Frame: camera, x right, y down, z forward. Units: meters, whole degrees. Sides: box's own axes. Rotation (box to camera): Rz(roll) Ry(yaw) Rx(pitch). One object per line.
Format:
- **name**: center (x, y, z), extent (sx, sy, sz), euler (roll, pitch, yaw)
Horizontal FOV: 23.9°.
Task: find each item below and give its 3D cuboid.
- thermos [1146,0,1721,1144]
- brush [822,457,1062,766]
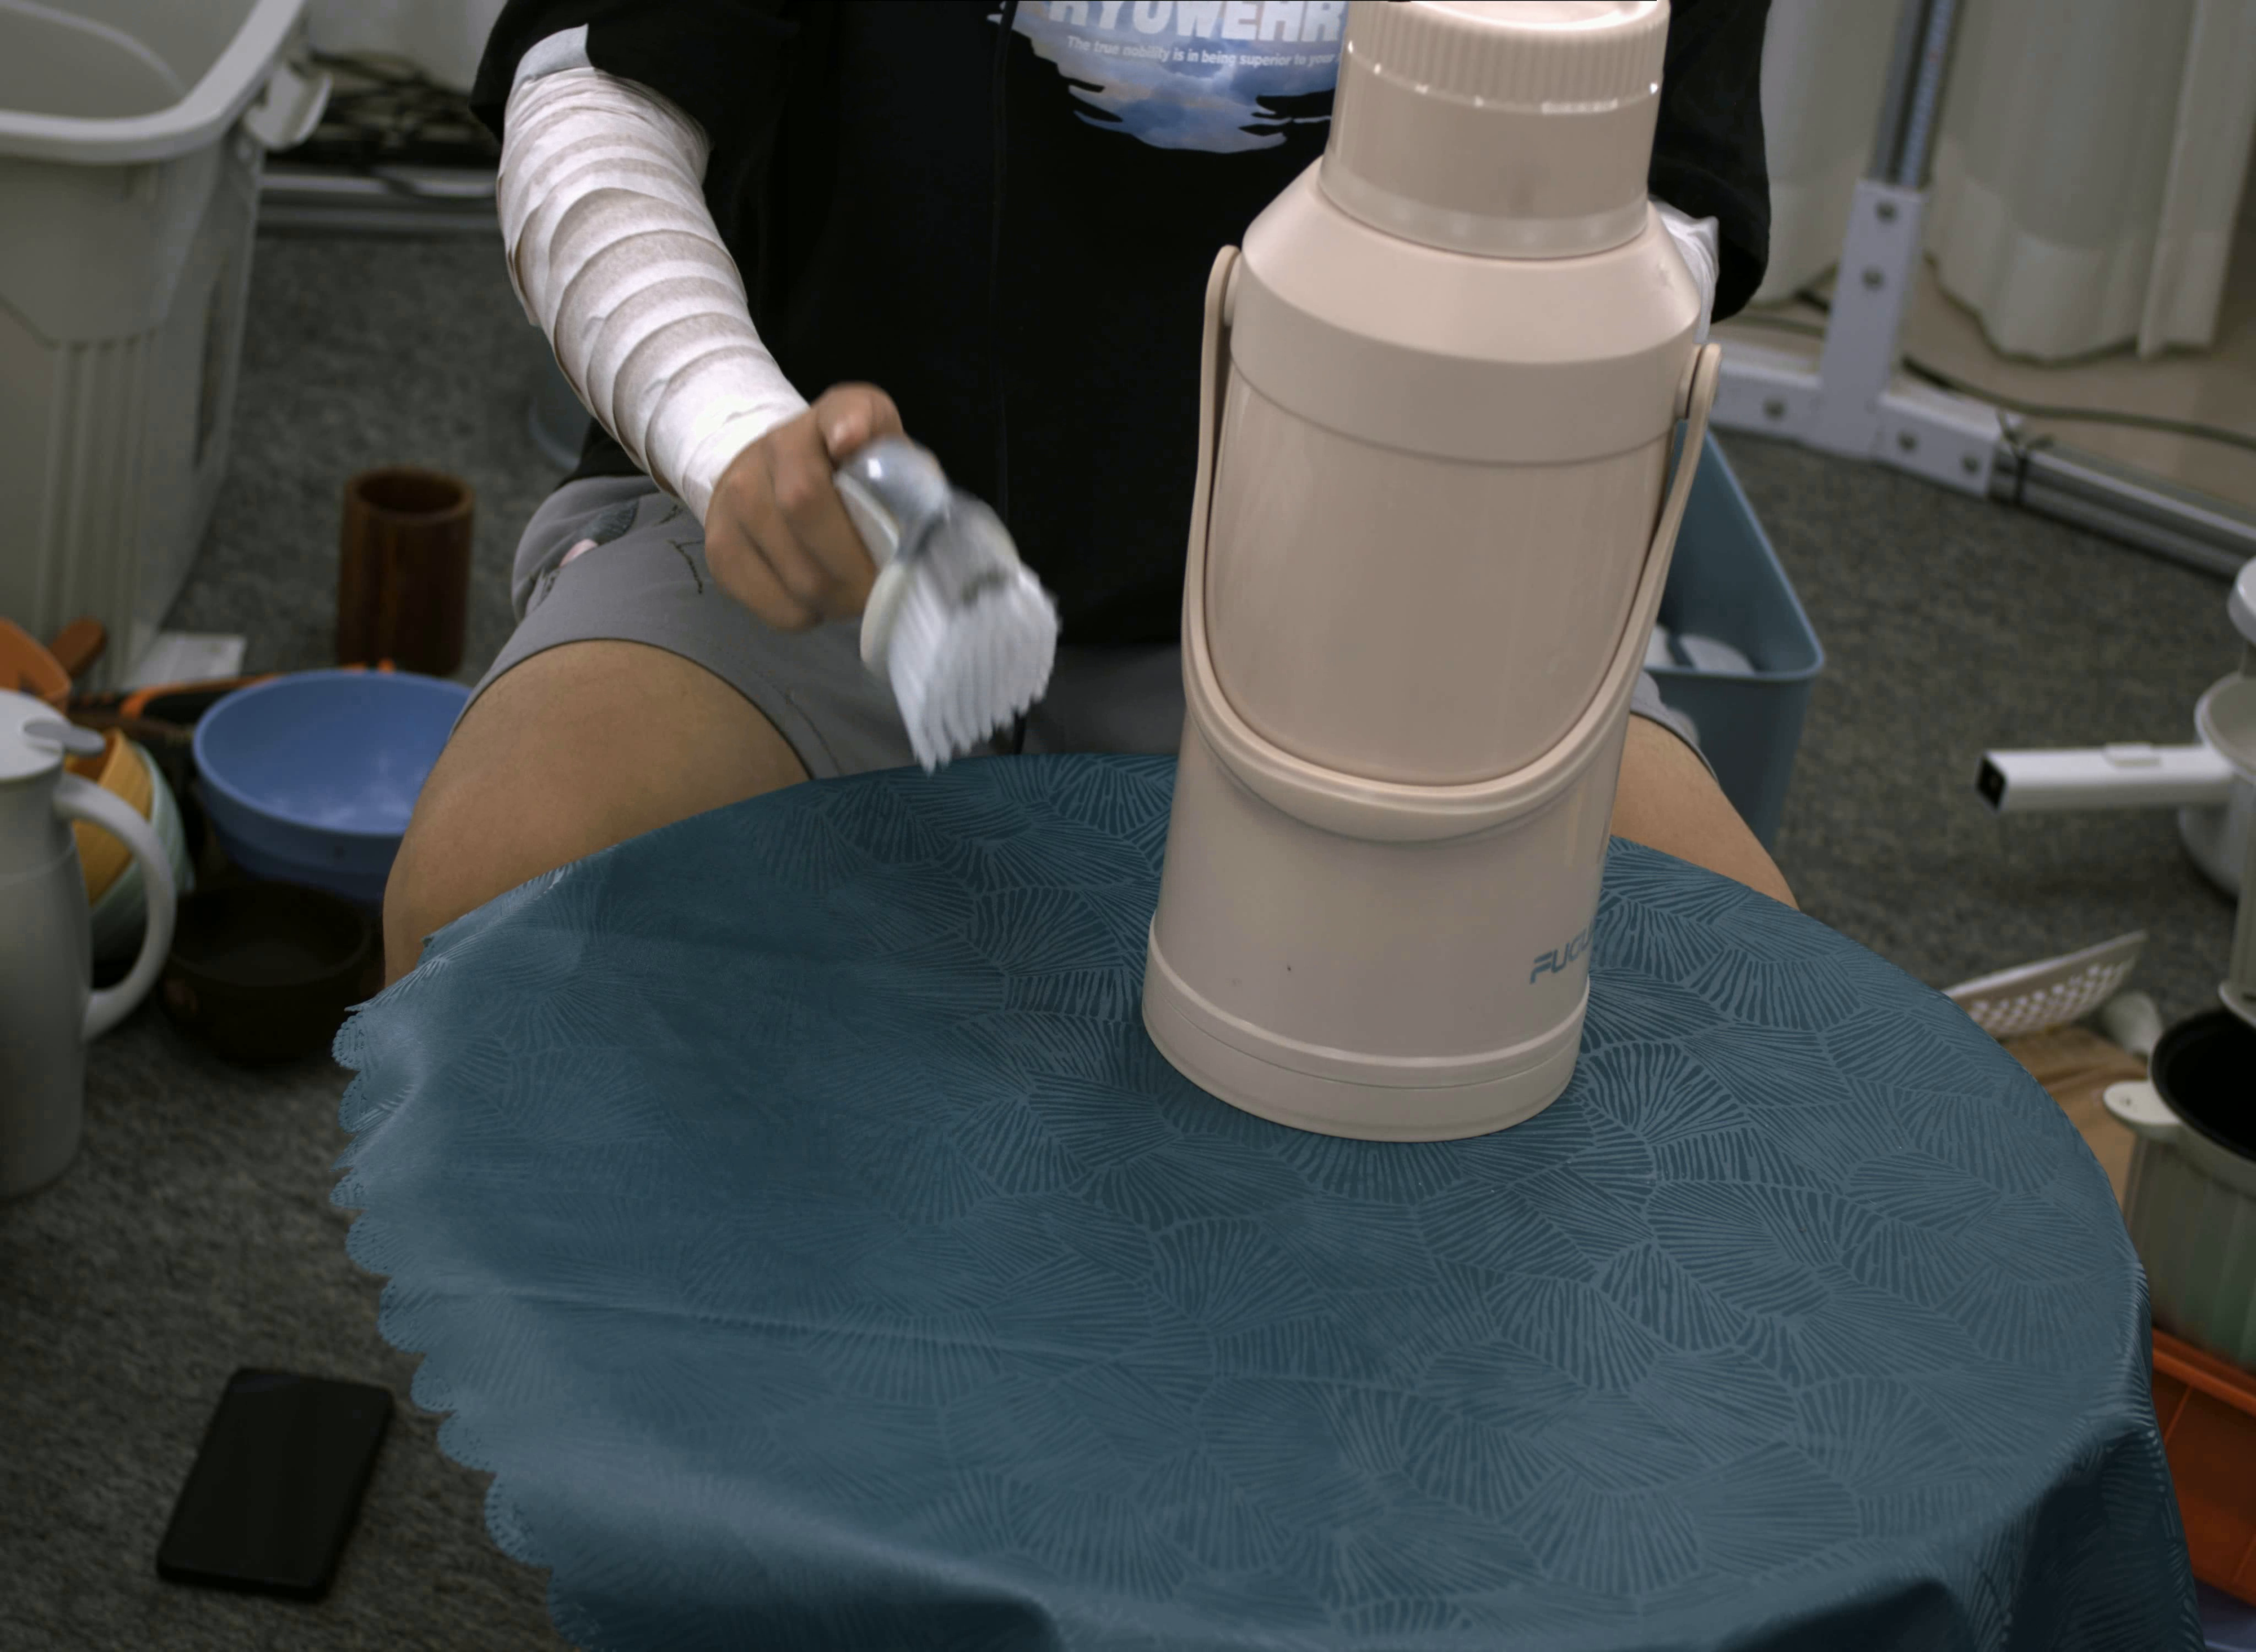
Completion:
- **thermos**: center (0.110, -0.106, 1.845), extent (0.175, 0.405, 0.207), euler (11, 26, 11)
- **brush**: center (-0.068, -0.086, 1.814), extent (0.061, 0.175, 0.094), euler (-34, 80, -9)
